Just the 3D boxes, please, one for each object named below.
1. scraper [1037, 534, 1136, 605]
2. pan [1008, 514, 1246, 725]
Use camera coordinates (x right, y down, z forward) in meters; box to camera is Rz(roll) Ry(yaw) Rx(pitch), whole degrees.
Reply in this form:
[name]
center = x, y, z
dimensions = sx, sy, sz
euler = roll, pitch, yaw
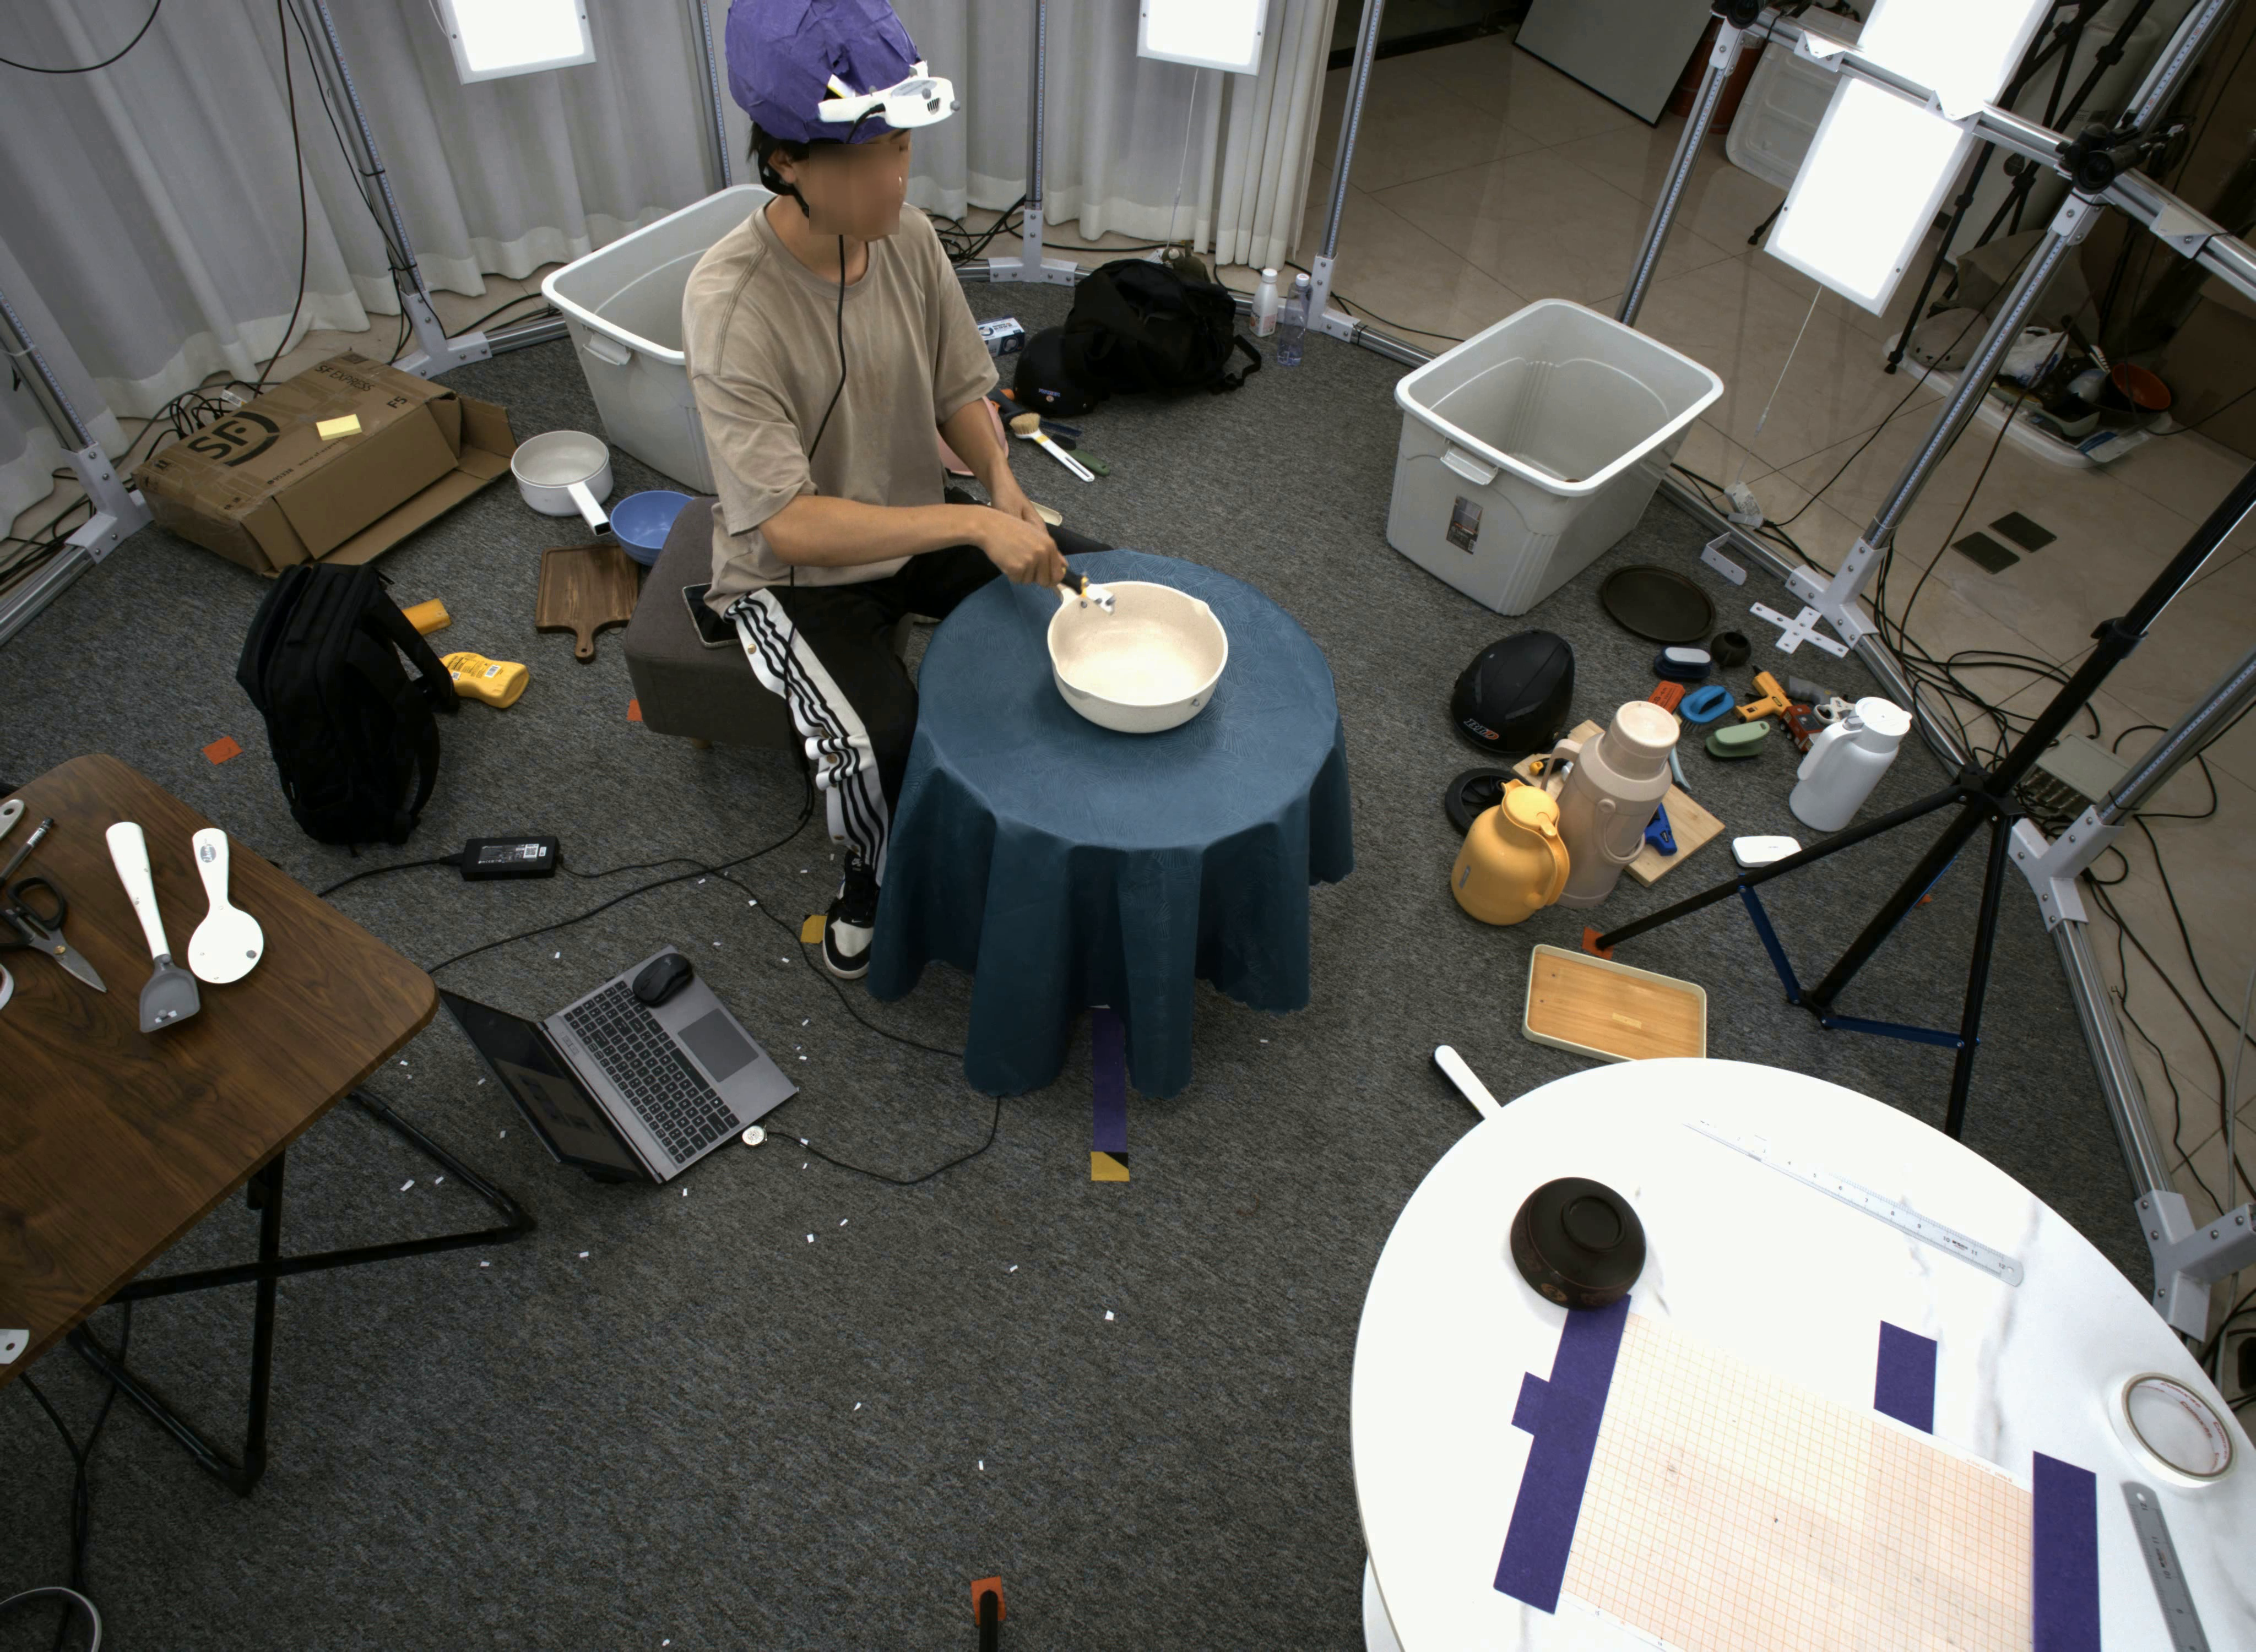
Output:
[scraper]
center = -0.054, -0.345, 1.727
dimensions = 0.168, 0.015, 0.039
euler = 23, 59, -36
[pan]
center = -0.024, -0.303, 1.855
dimensions = 0.265, 0.099, 0.442
euler = -34, 59, -27
